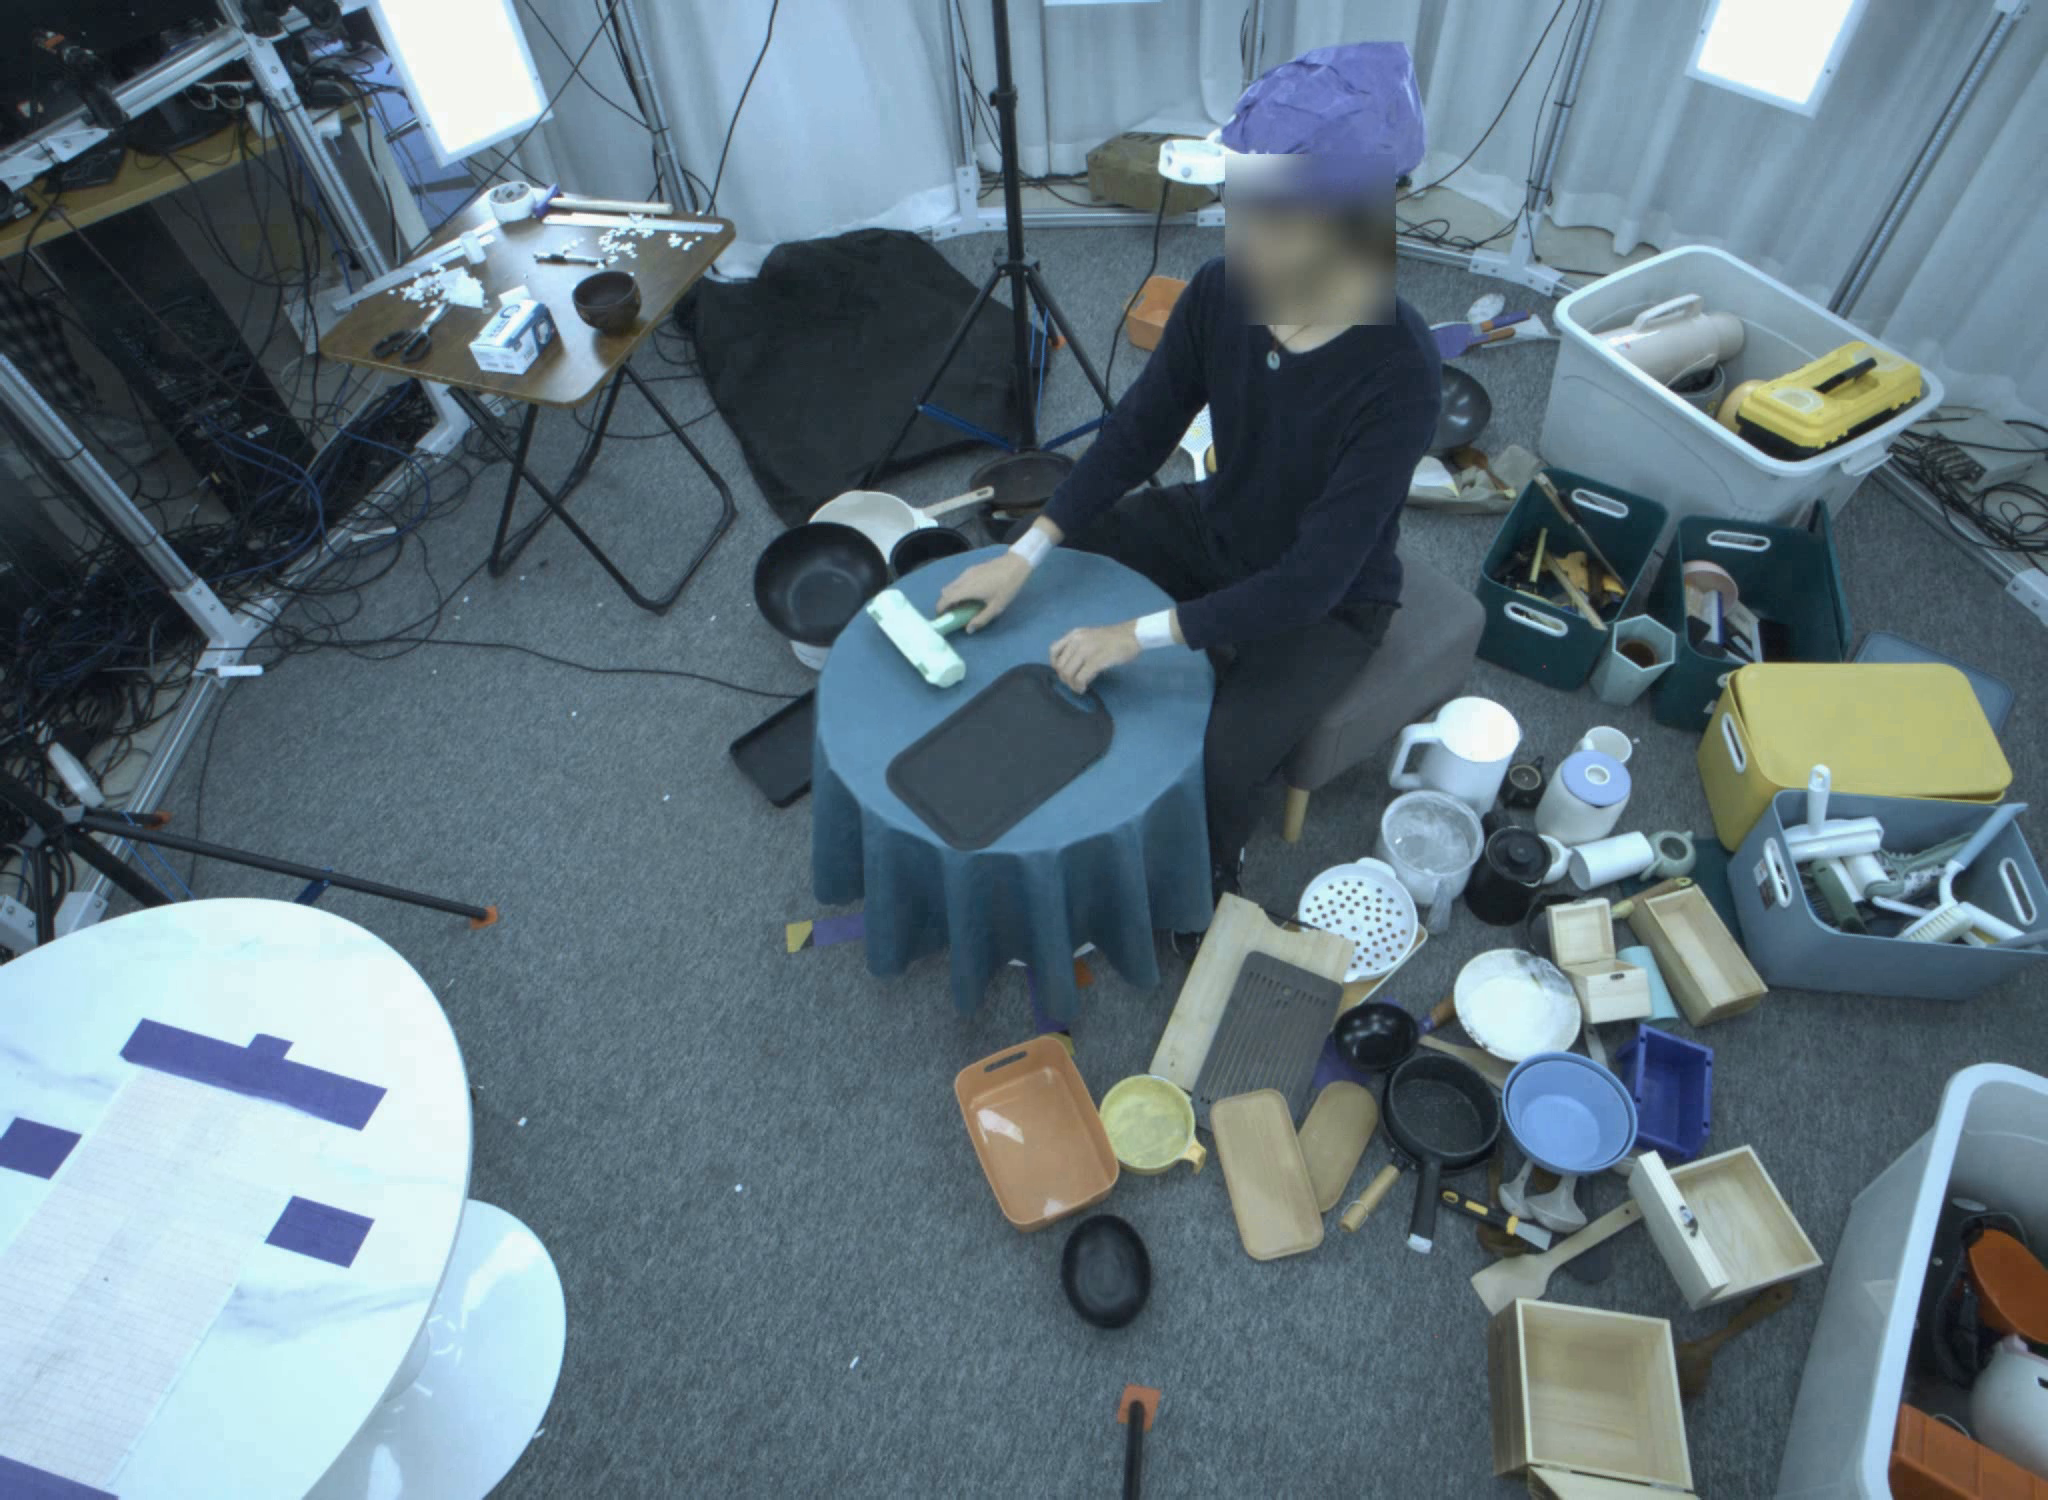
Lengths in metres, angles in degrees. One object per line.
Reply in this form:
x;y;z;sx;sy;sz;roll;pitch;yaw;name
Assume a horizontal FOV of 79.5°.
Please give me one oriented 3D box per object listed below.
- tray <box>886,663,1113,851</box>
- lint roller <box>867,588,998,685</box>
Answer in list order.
-0.029;-0.003;1.782;0.327;0.010;0.207;-38;62;-20;tray
-0.120;-0.211;1.888;0.184;0.083;0.195;-35;61;-13;lint roller
